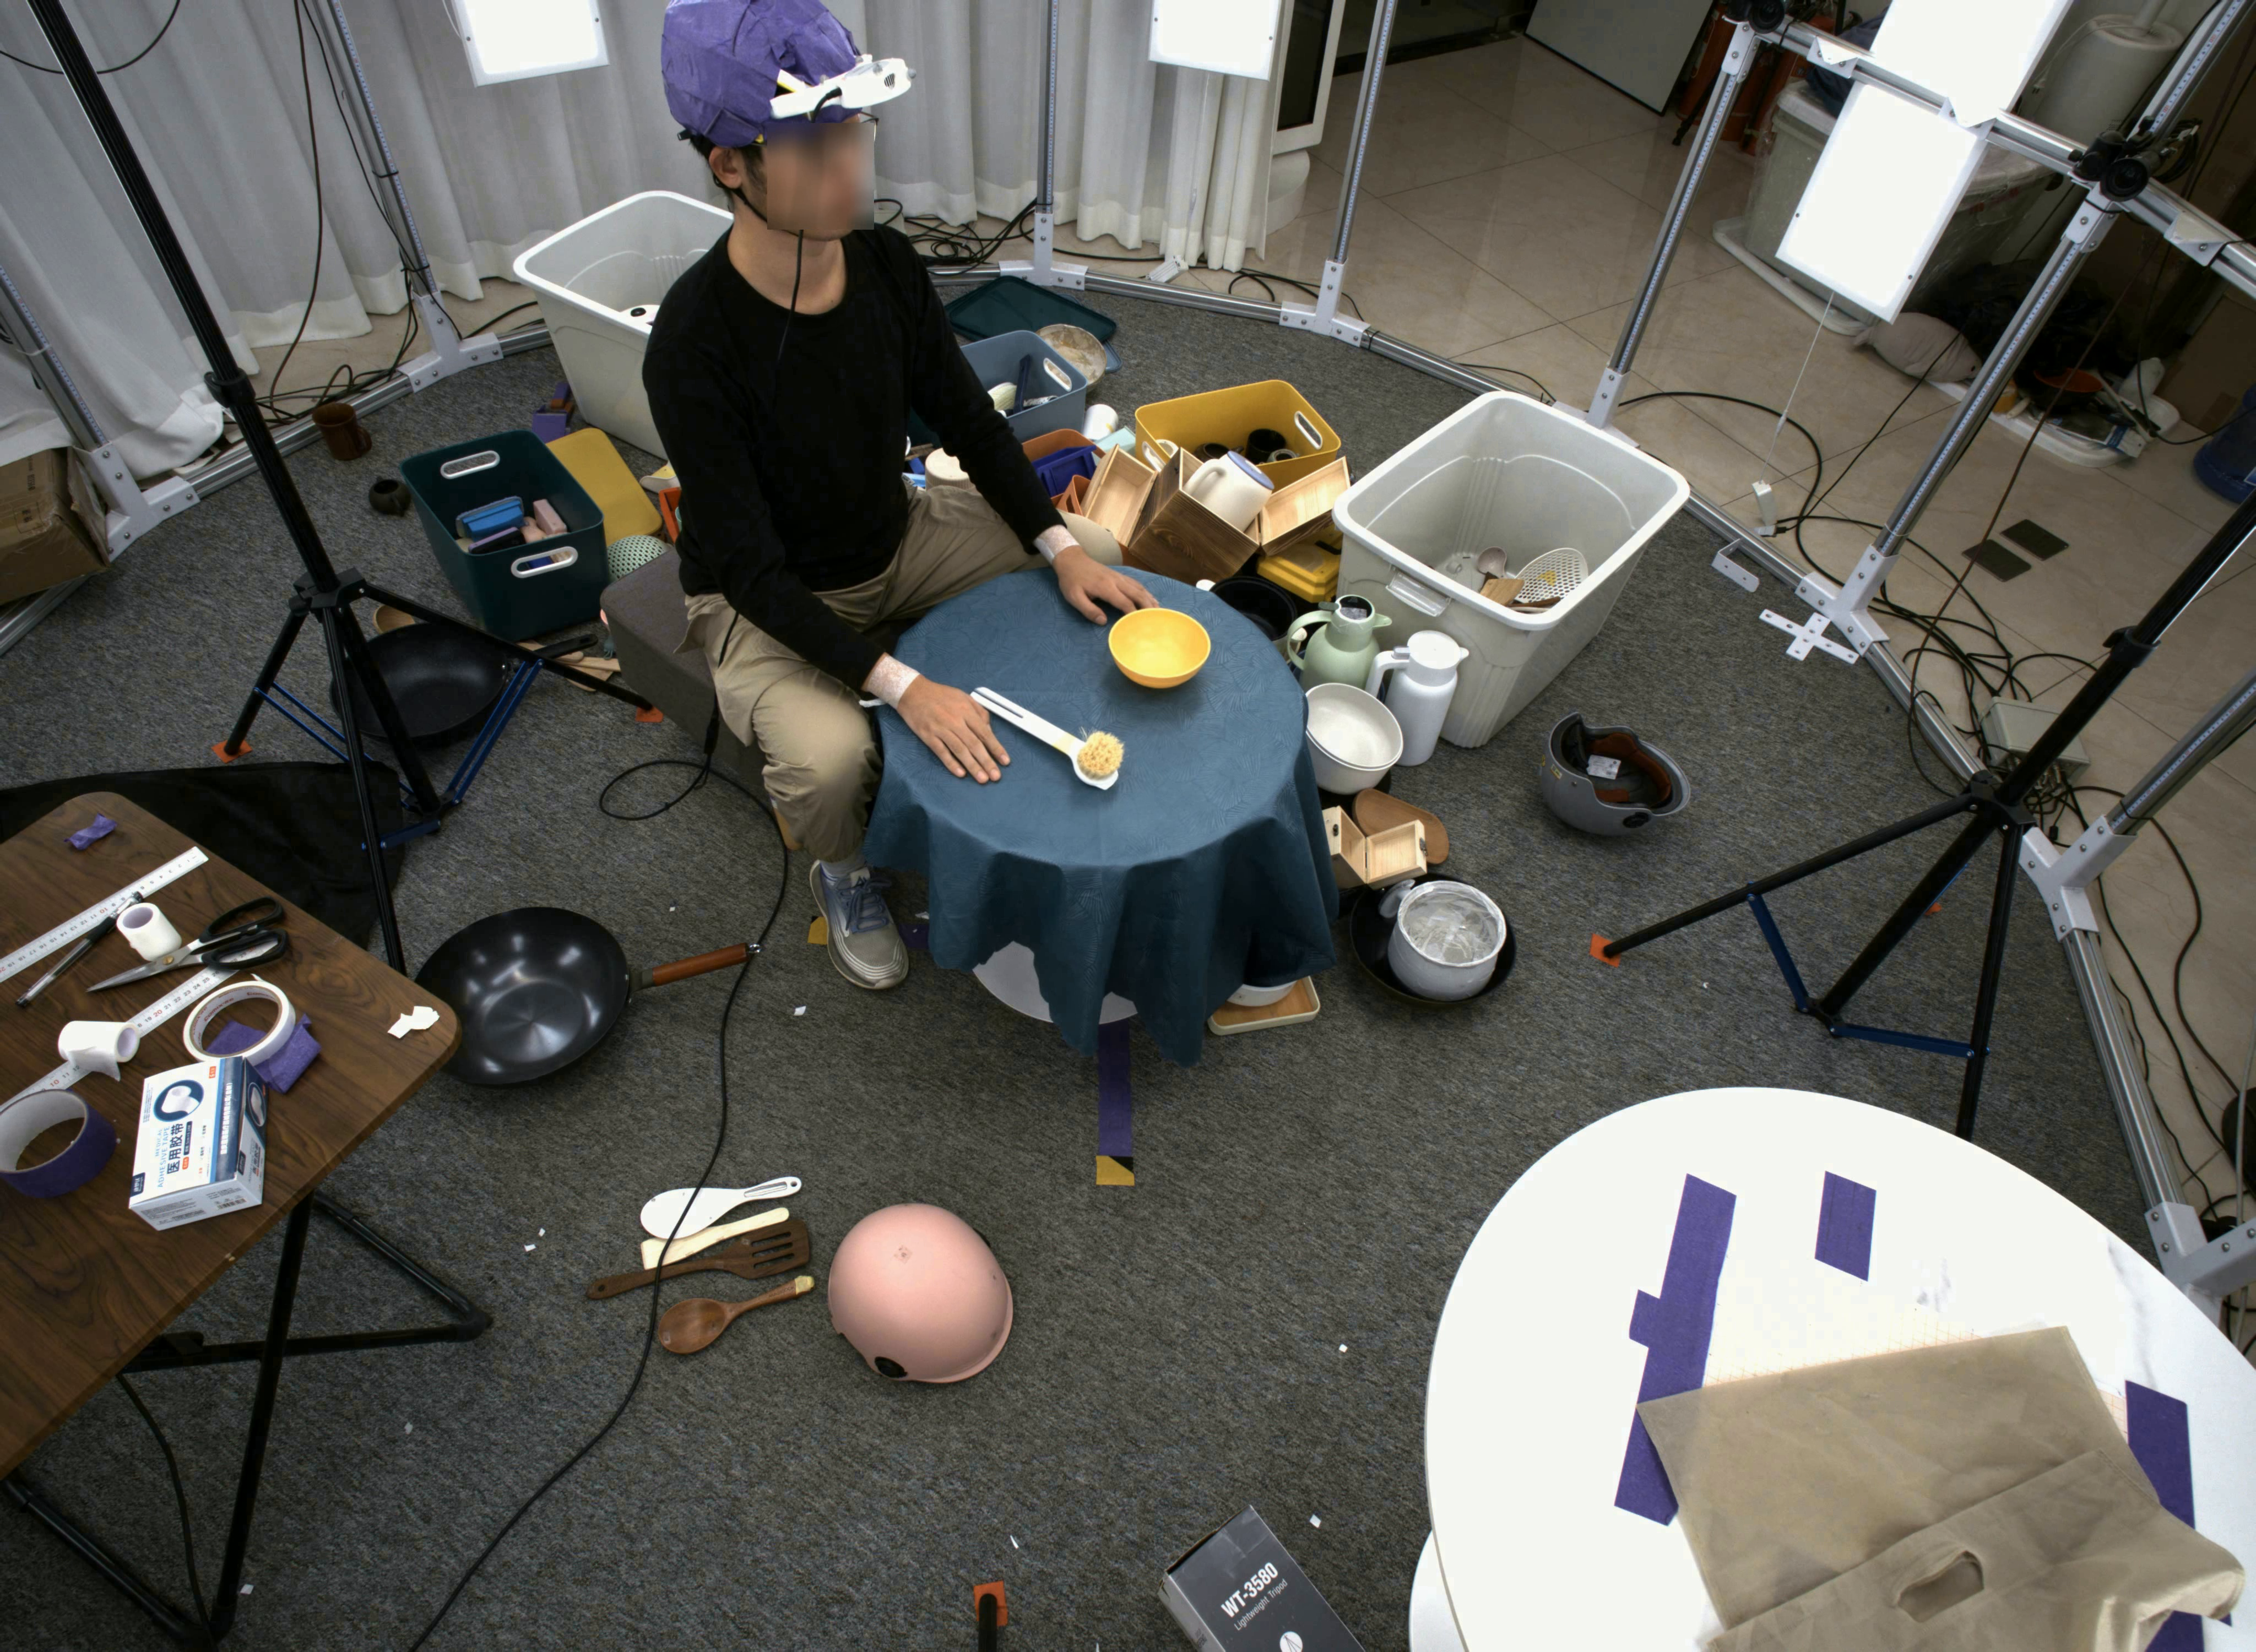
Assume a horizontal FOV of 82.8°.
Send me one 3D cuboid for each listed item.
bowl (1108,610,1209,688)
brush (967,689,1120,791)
[{"bbox_3d":[0.042,-0.243,1.846,0.145,0.058,0.149,2,48,-3],"label":"bowl"},{"bbox_3d":[-0.121,-0.136,1.745,0.270,0.055,0.069,35,51,25],"label":"brush"}]
